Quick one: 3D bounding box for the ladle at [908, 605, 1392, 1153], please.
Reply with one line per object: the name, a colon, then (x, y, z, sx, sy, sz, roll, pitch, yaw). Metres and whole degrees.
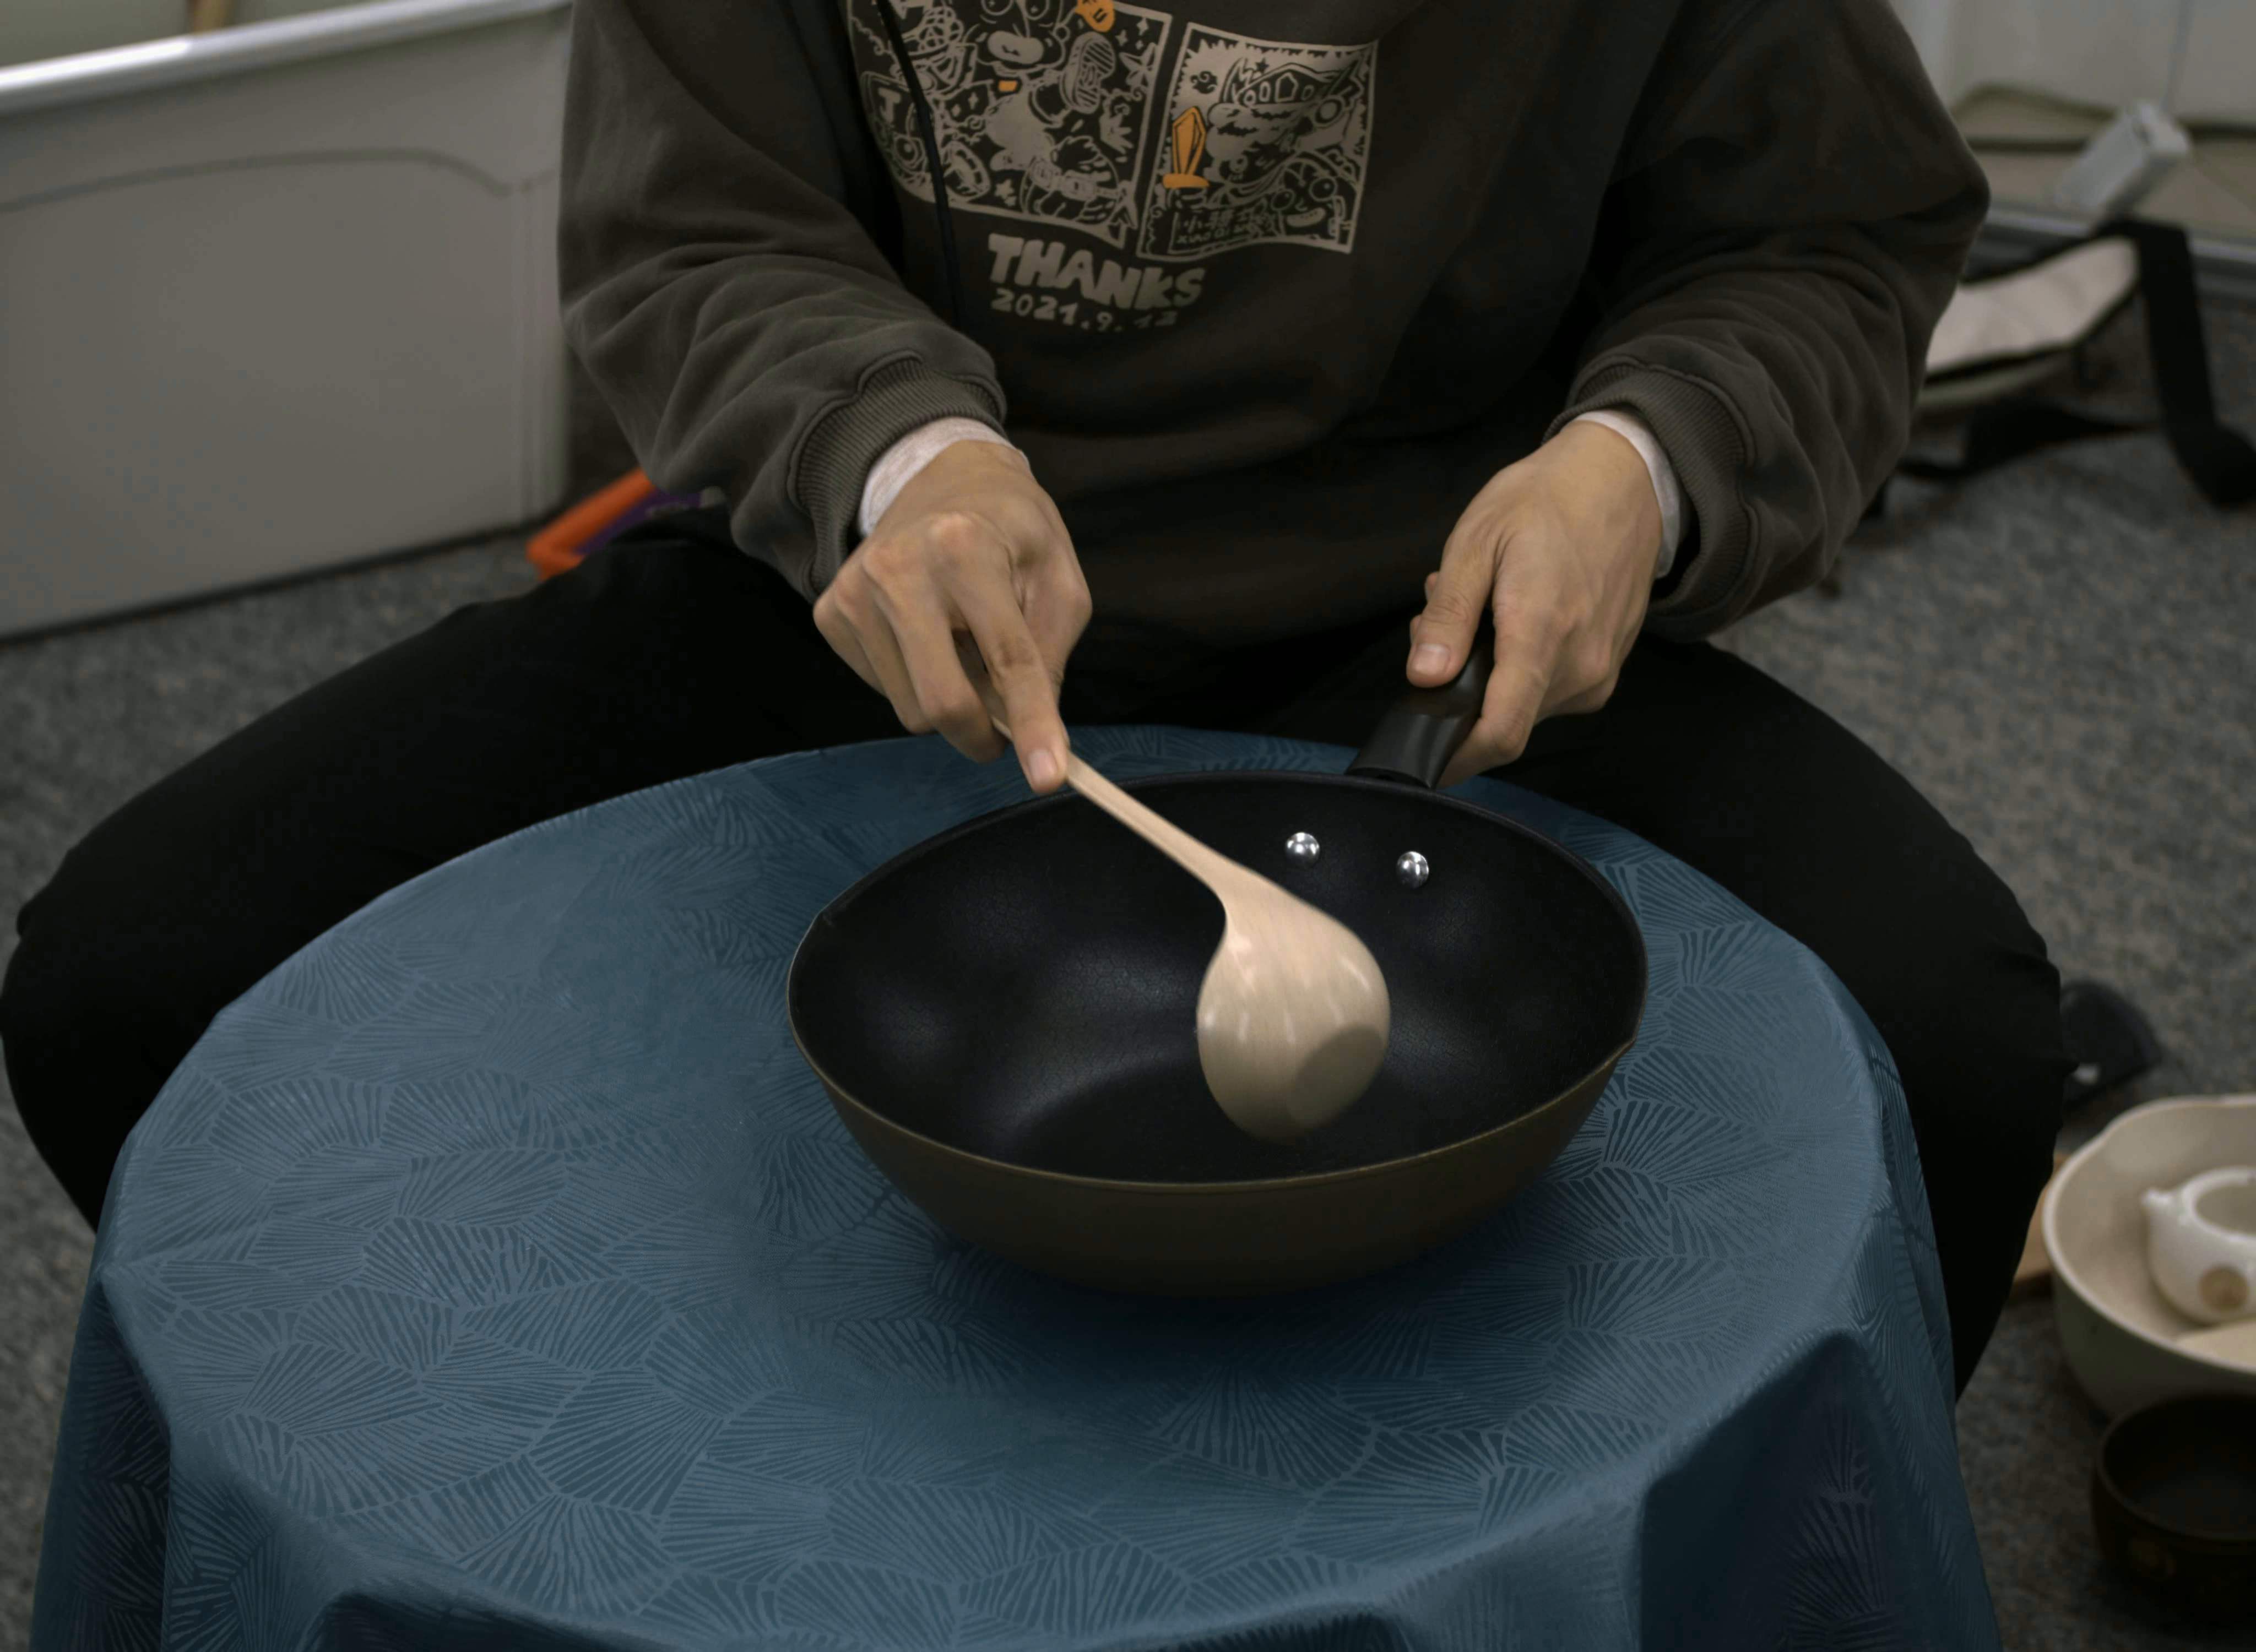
ladle: (-0.005, 0.018, 1.887, 0.072, 0.072, 0.256, -14, 38, -34)

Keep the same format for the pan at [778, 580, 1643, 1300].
pan: (0.064, 0.040, 1.924, 0.286, 0.086, 0.471, 9, 29, 21)
